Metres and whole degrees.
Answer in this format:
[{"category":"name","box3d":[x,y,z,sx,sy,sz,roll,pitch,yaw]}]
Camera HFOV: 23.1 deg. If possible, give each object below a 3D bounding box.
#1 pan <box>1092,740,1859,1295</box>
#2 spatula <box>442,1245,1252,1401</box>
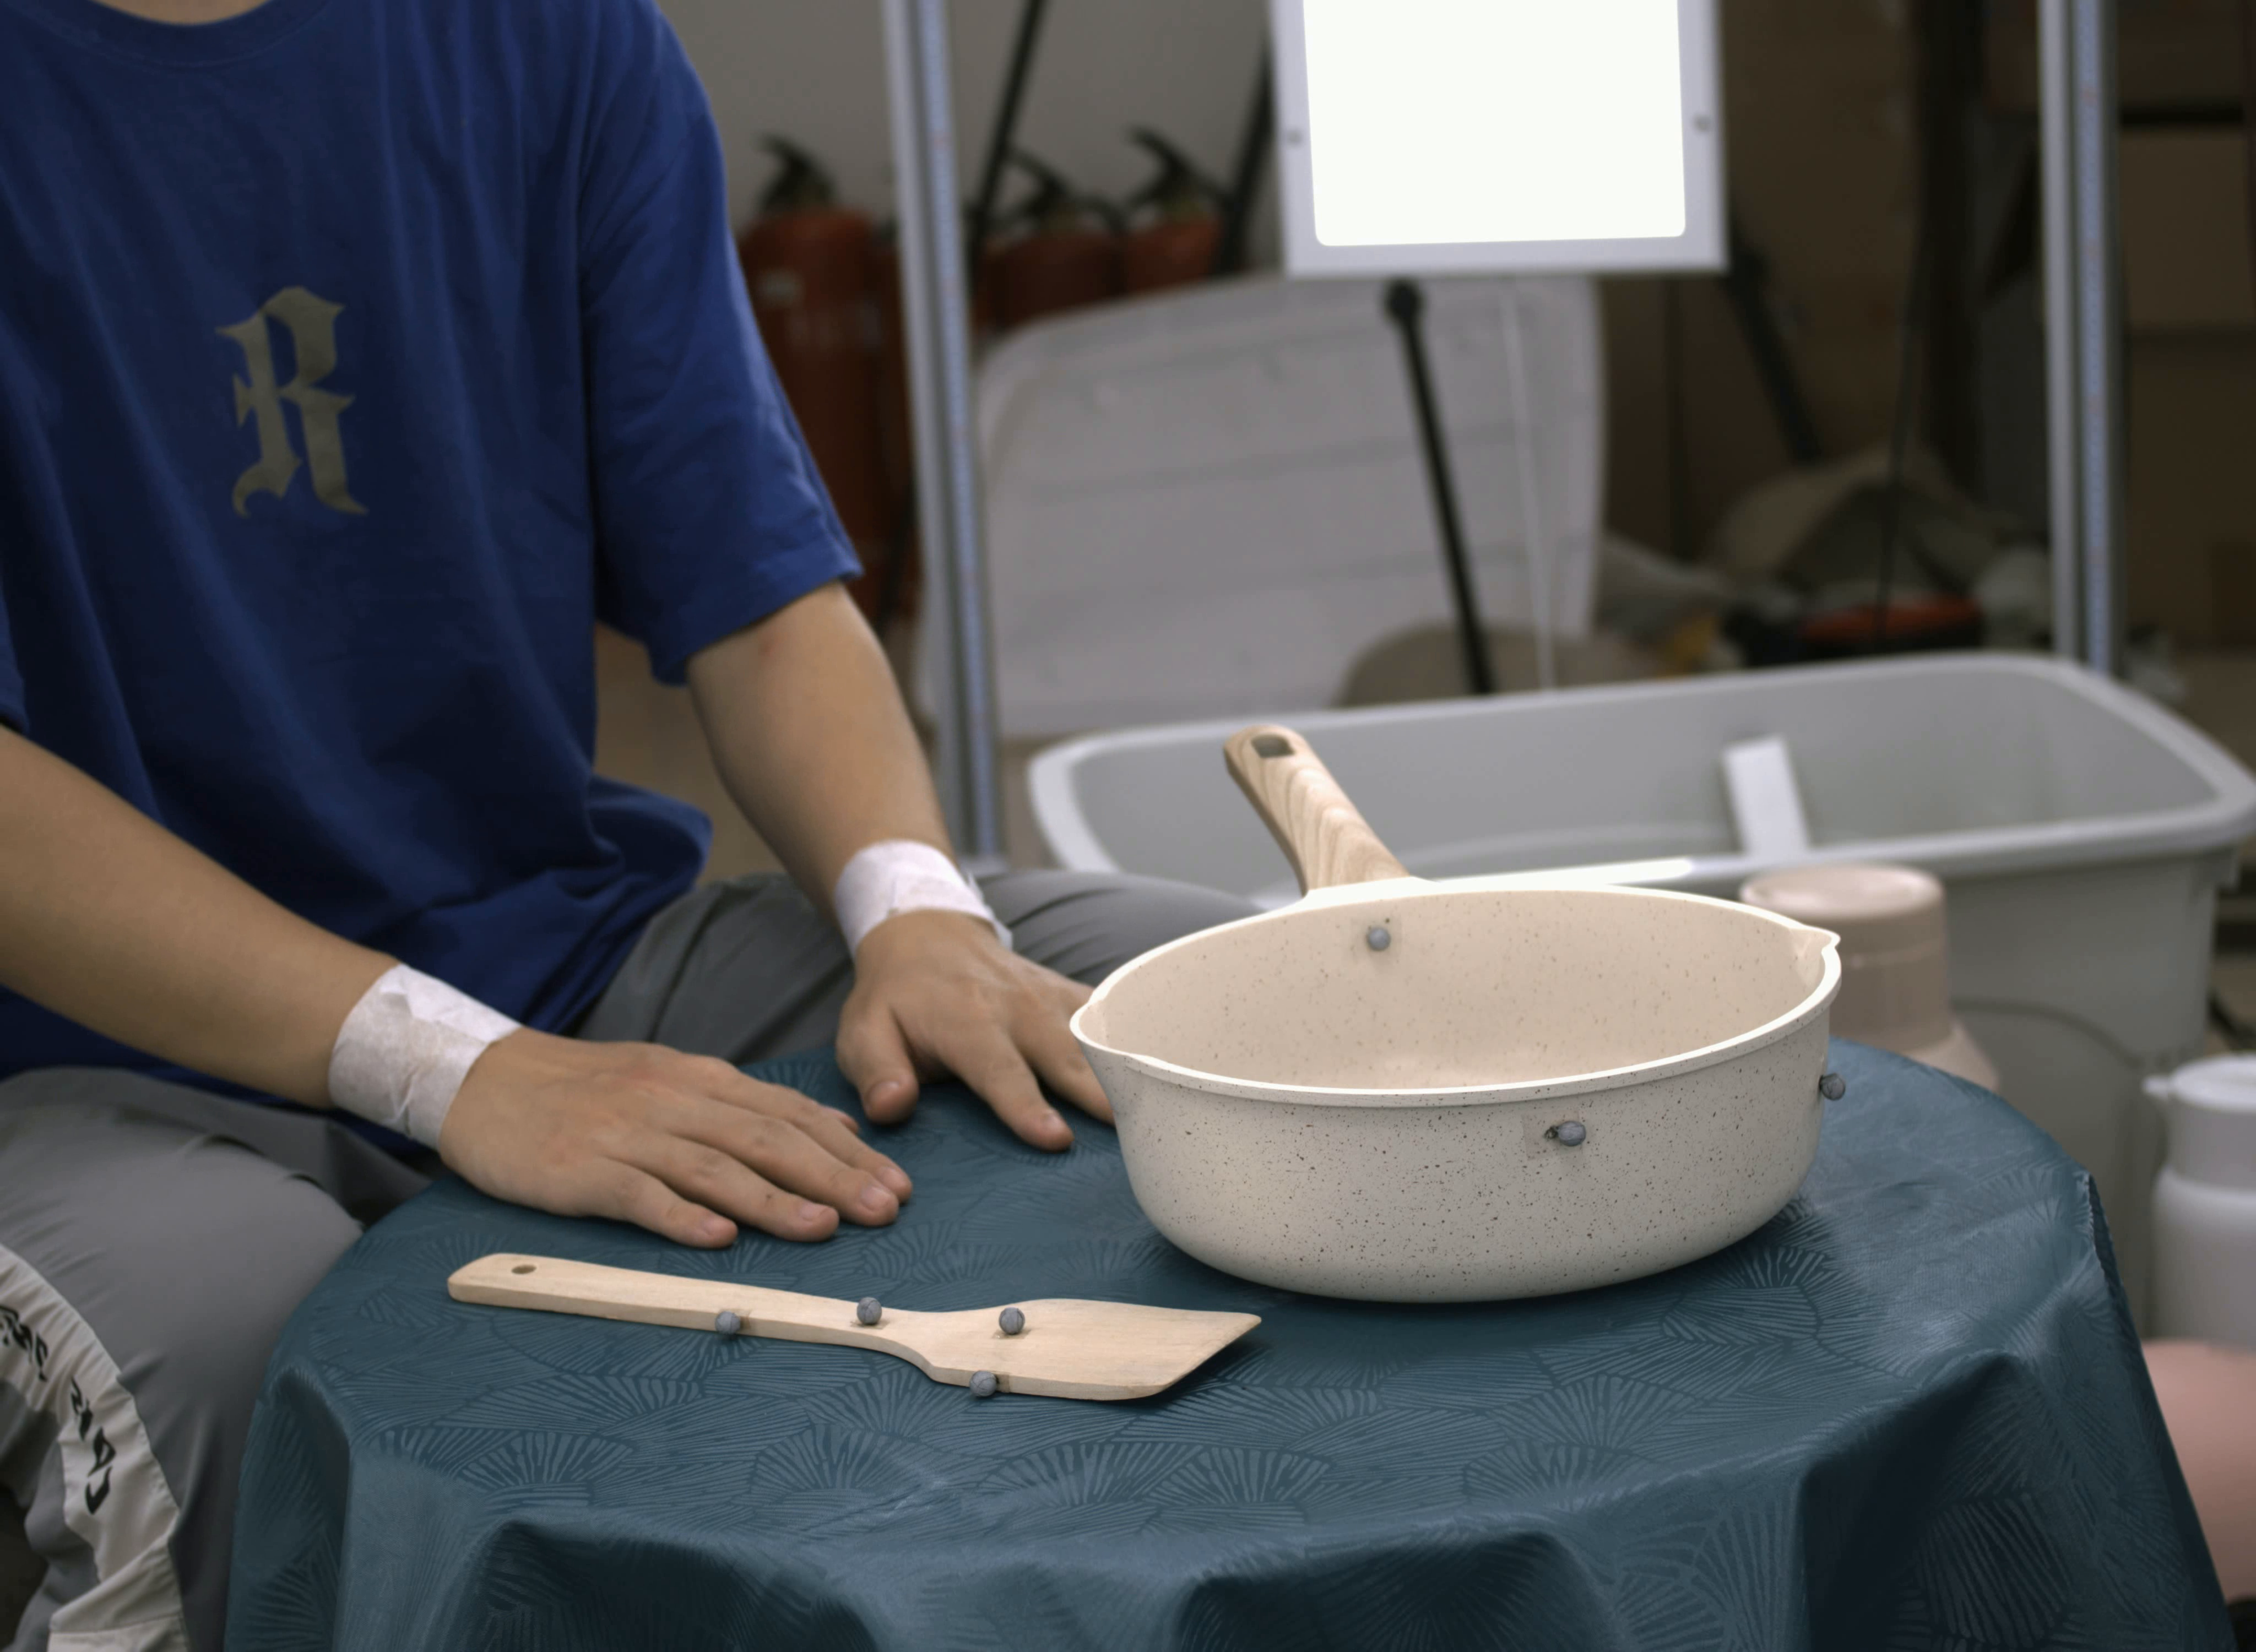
[{"category":"pan","box3d":[0.100,0.061,1.917,0.260,0.102,0.438,-9,14,-10]},{"category":"spatula","box3d":[-0.101,0.158,1.785,0.298,0.011,0.070,4,18,32]}]
